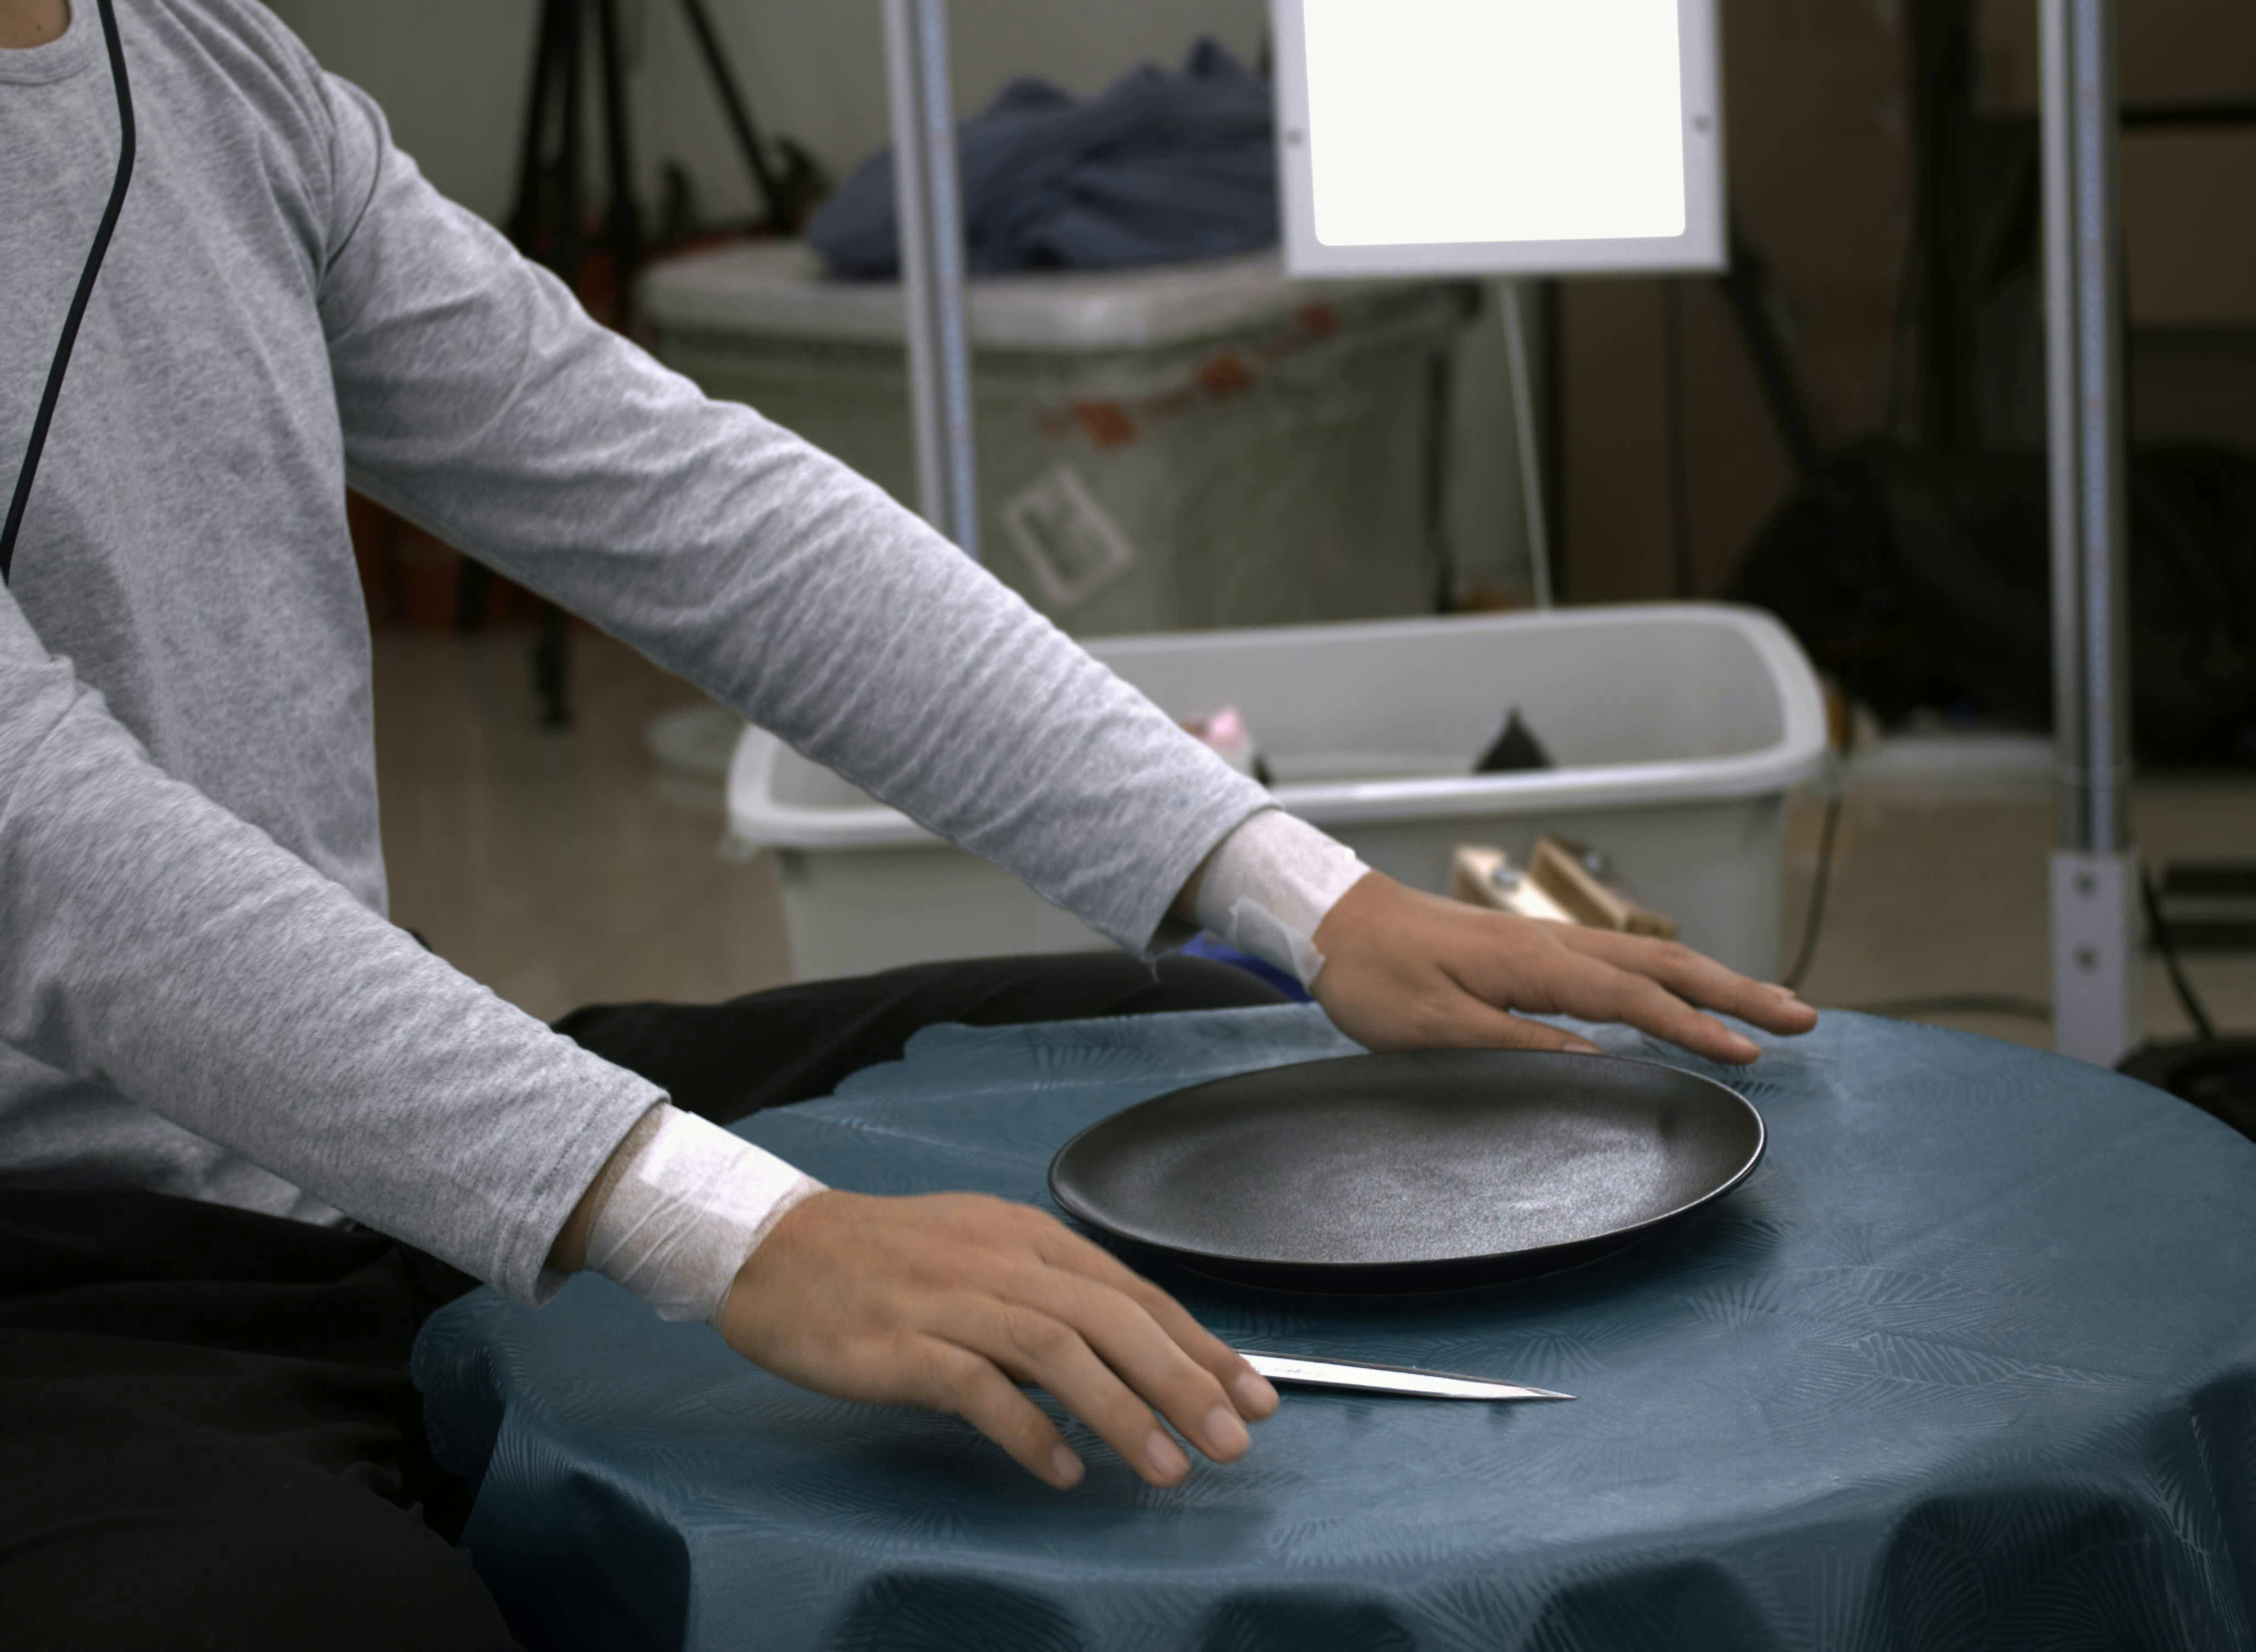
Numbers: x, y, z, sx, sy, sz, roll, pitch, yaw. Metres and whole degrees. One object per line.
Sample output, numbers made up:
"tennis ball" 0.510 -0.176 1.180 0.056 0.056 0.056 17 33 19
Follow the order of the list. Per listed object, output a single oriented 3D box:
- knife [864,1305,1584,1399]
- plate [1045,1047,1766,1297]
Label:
"knife" 0.026 0.166 1.707 0.241 0.016 0.024 3 15 22
"plate" 0.094 0.119 1.852 0.244 0.023 0.244 -5 14 0
